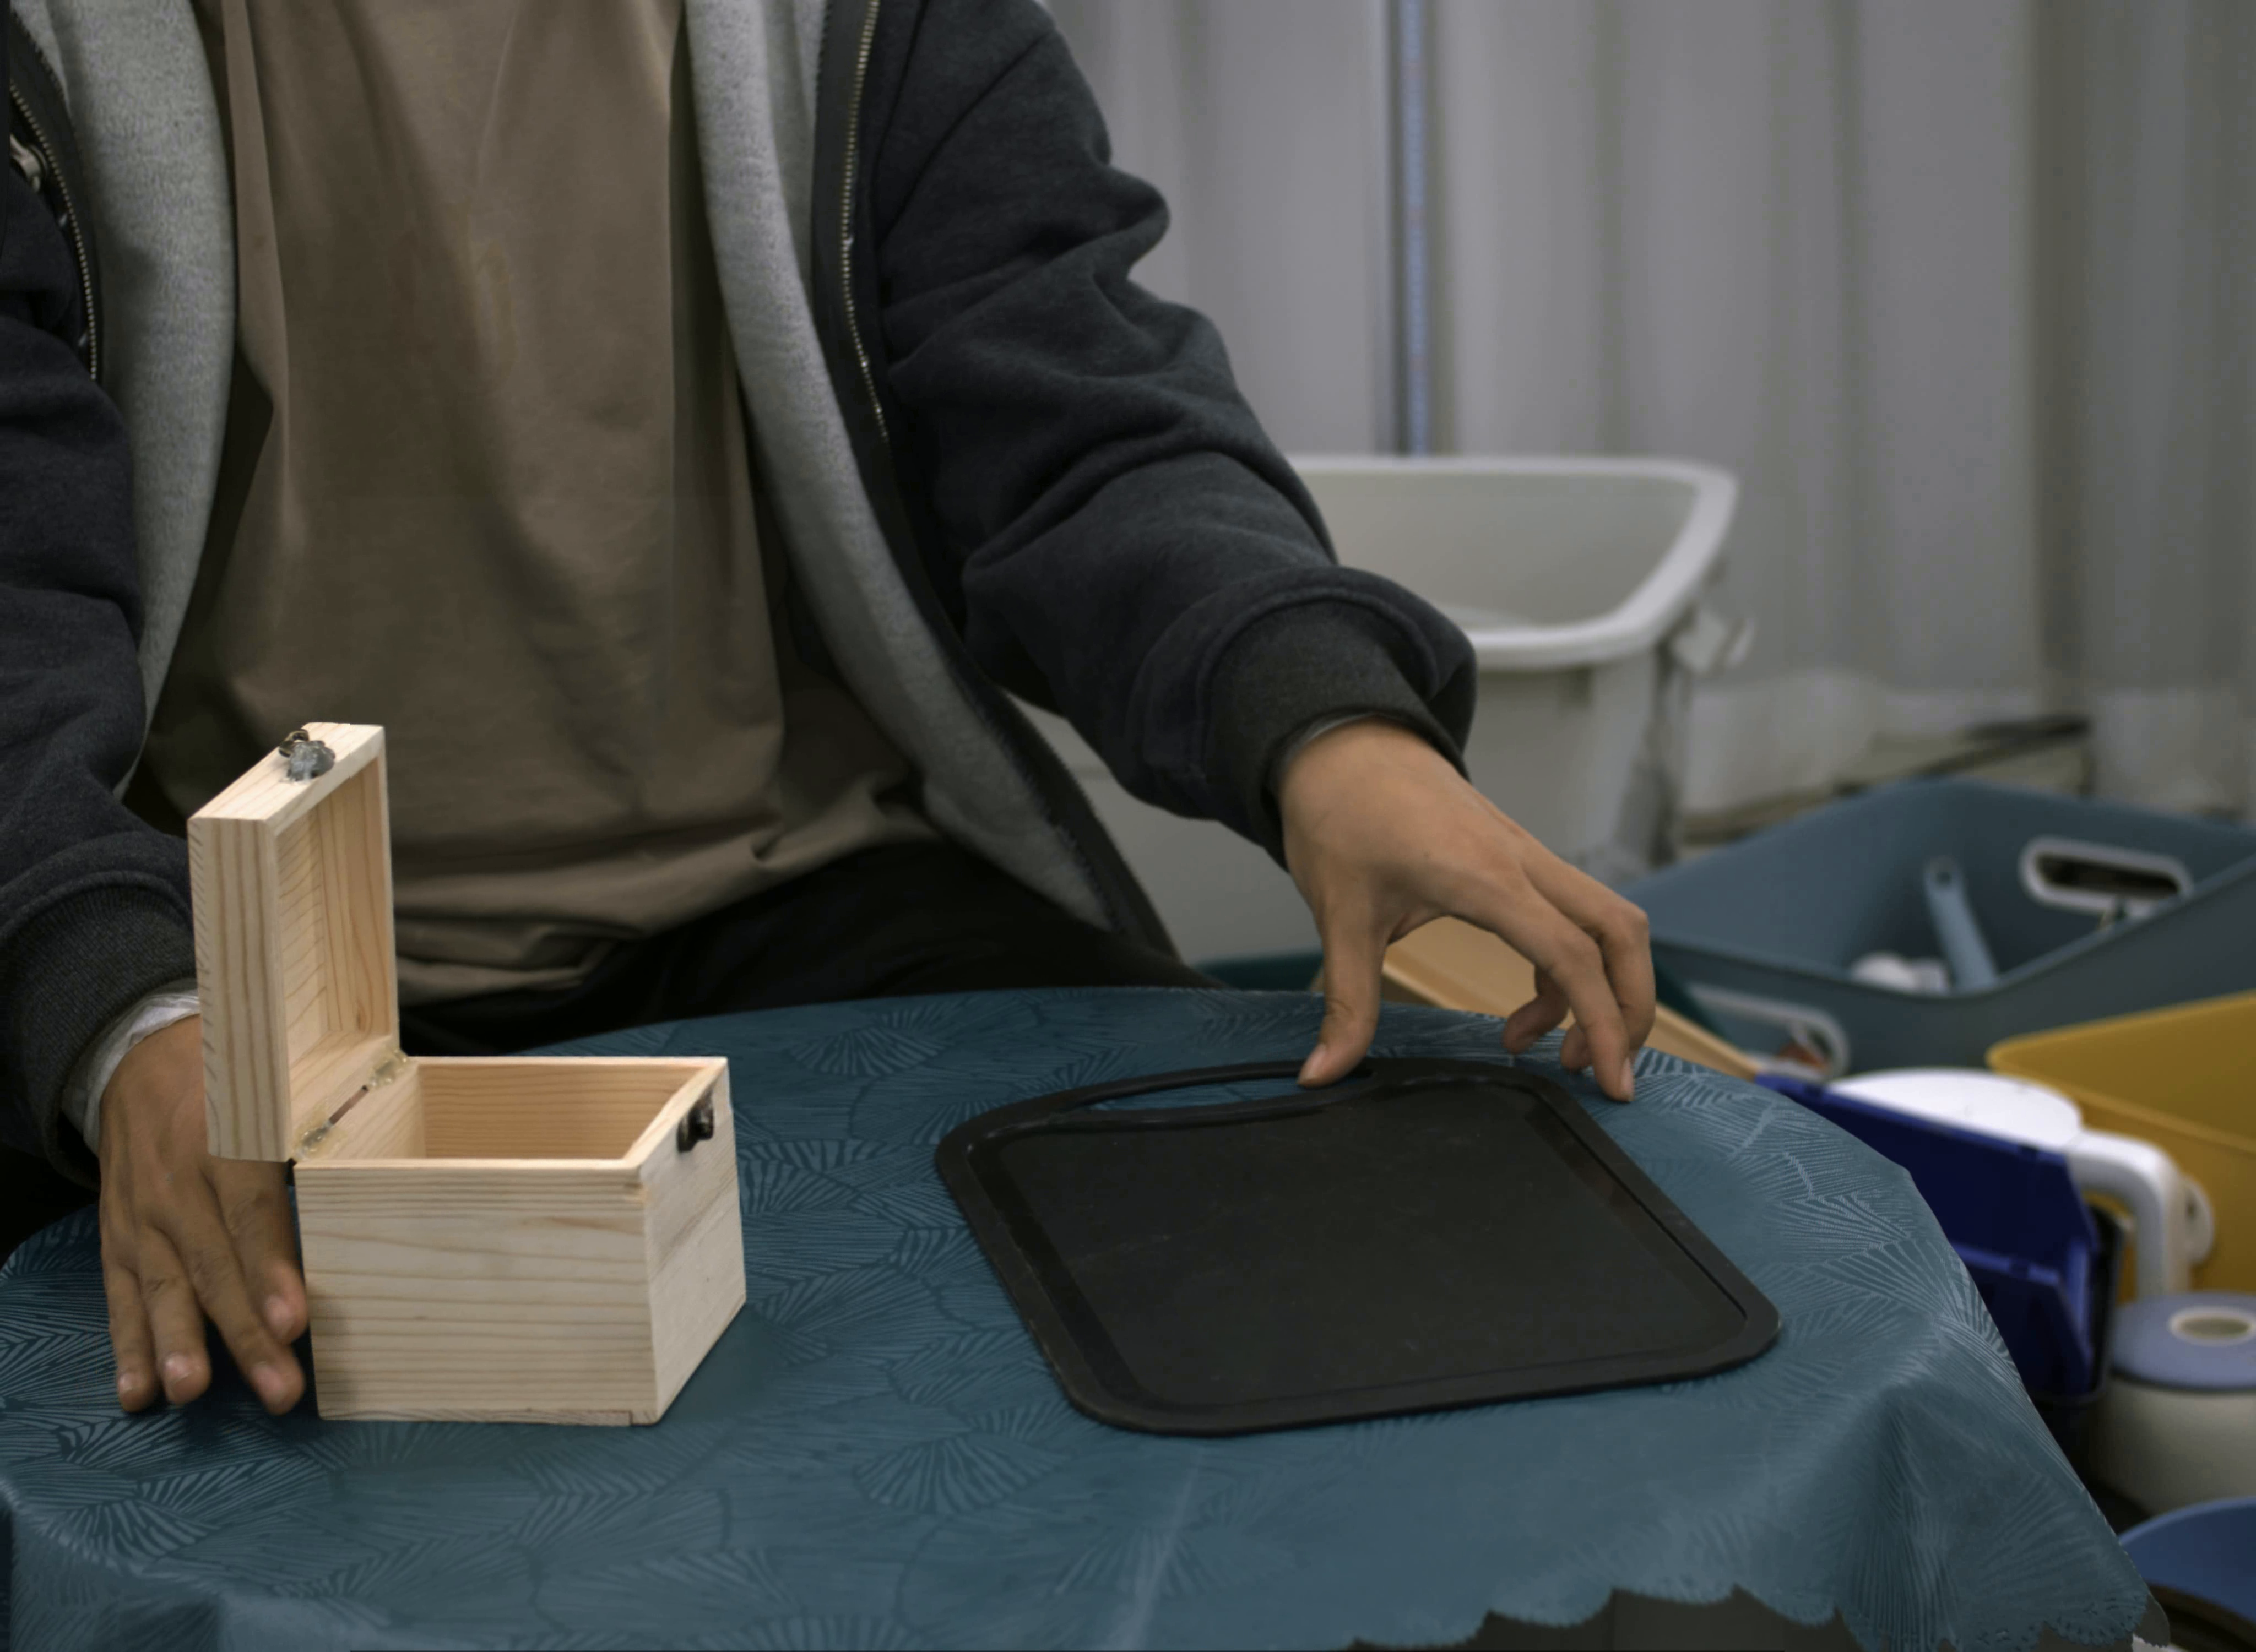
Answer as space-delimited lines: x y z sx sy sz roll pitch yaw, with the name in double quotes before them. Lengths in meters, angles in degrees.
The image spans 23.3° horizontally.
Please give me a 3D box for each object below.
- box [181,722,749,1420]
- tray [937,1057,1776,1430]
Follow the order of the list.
"box" -0.186 0.067 1.574 0.133 0.184 0.103 -2 14 11
"tray" 0.059 0.120 1.672 0.210 0.010 0.328 -5 15 -10
